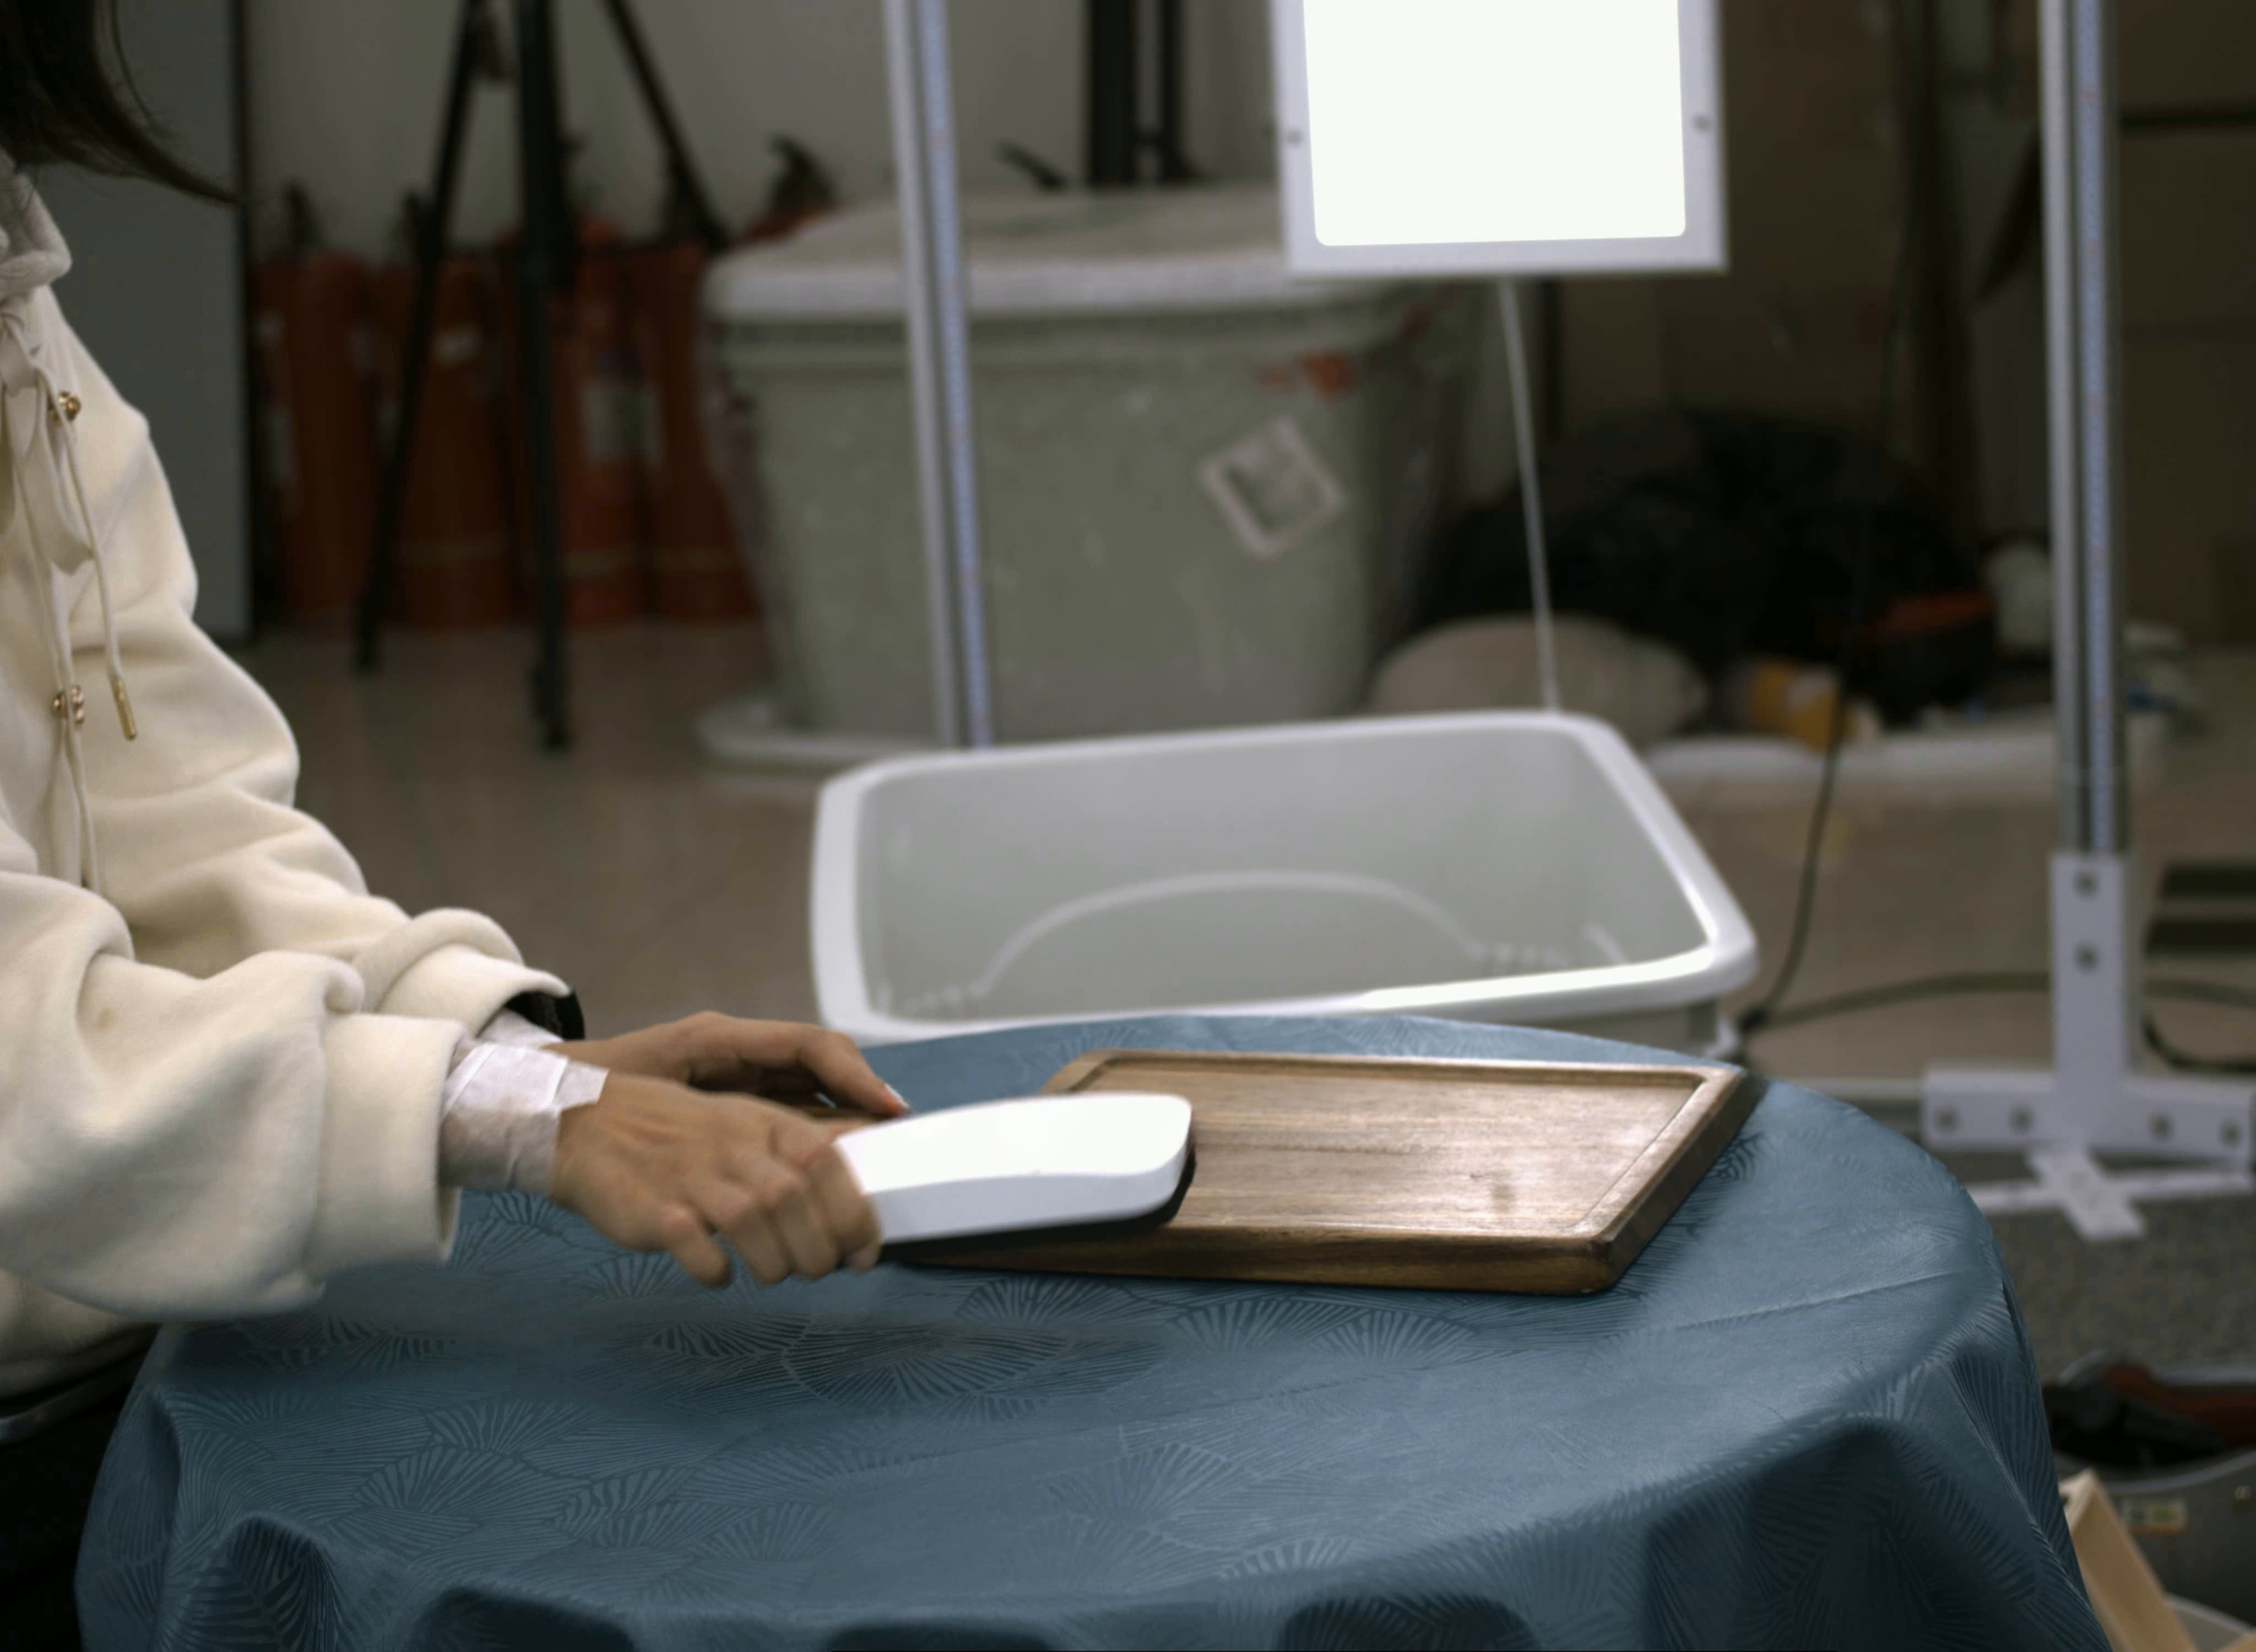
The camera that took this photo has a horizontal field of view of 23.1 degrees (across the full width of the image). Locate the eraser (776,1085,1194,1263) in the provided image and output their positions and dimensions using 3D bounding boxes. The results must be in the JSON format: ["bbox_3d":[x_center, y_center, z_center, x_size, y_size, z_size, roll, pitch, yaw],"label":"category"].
[{"bbox_3d":[-0.044,0.109,1.752,0.133,0.034,0.062,-7,18,17],"label":"eraser"}]

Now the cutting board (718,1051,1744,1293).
[{"bbox_3d":[0.022,0.114,1.895,0.357,0.023,0.197,1,14,22],"label":"cutting board"}]
